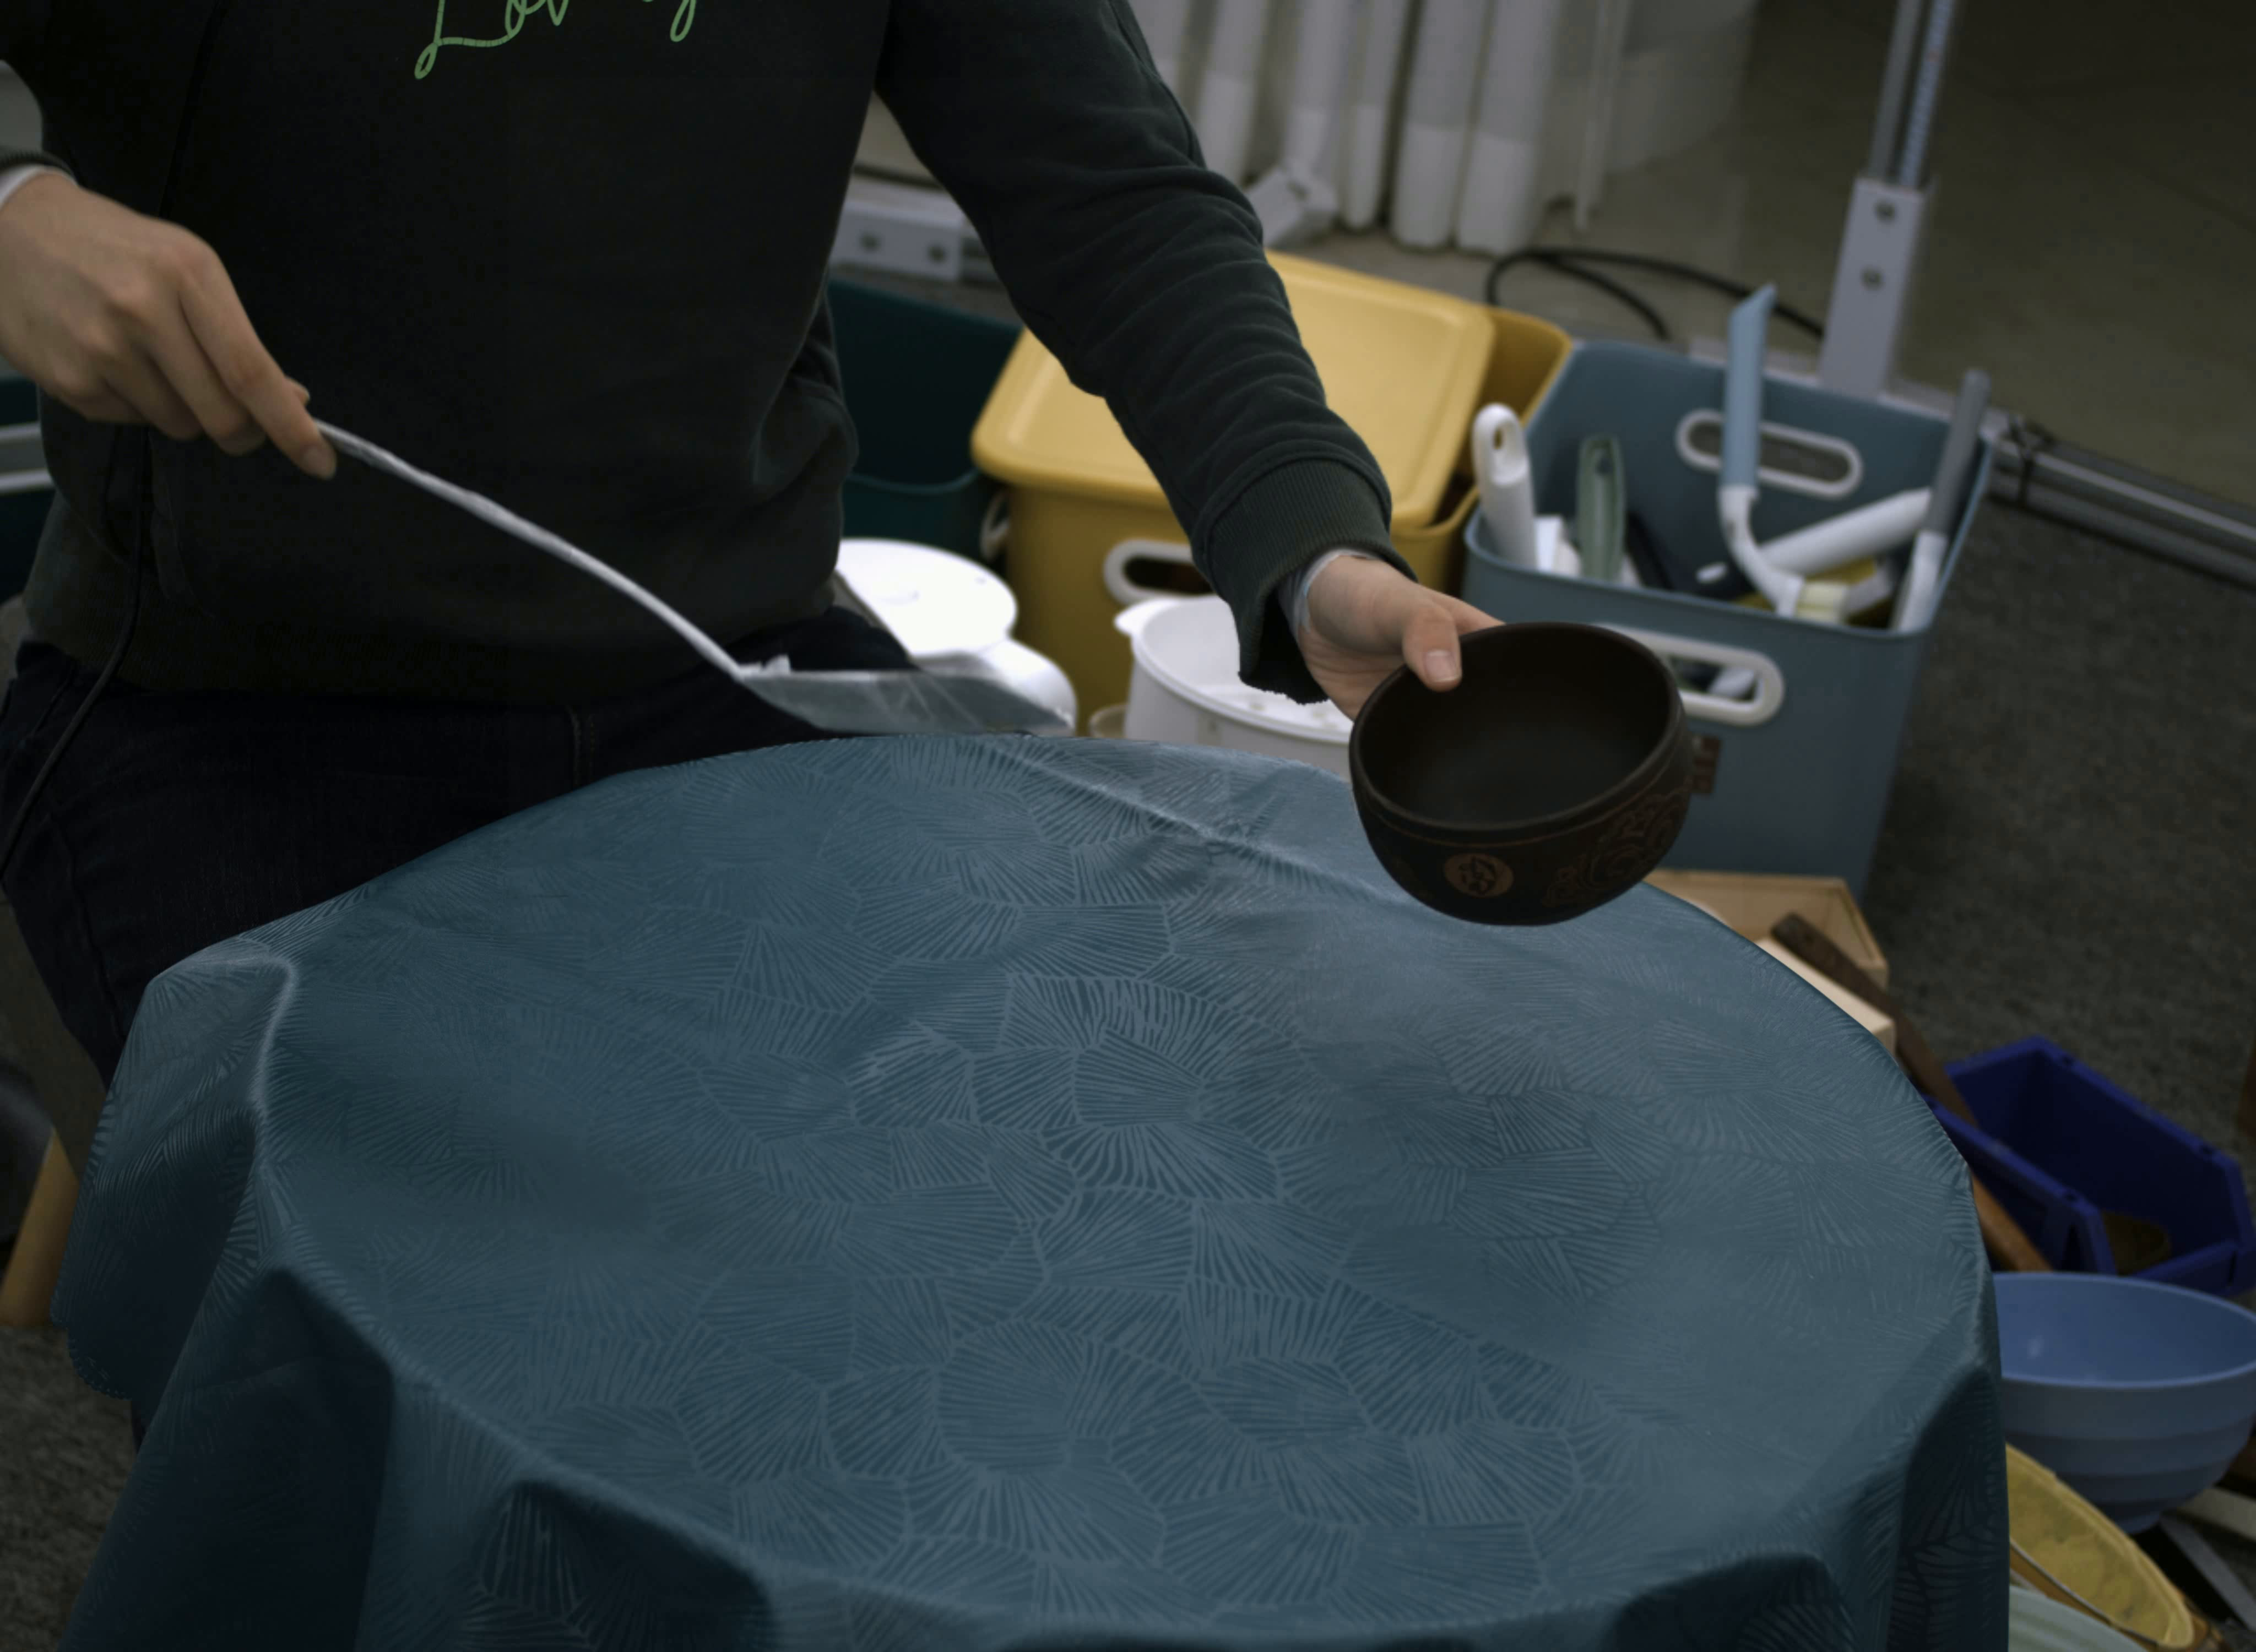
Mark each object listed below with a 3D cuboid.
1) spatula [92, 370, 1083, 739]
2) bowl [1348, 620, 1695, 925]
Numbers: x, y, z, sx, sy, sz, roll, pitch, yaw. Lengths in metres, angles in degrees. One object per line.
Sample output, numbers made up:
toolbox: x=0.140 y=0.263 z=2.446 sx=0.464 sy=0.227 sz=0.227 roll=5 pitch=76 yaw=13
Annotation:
spatula: x=-0.184 y=-0.093 z=1.713 sx=0.366 sy=0.045 sz=0.098 roll=26 pitch=1 yaw=18
bowl: x=0.138 y=-0.010 z=1.831 sx=0.118 sy=0.069 sz=0.119 roll=-9 pitch=35 yaw=6
